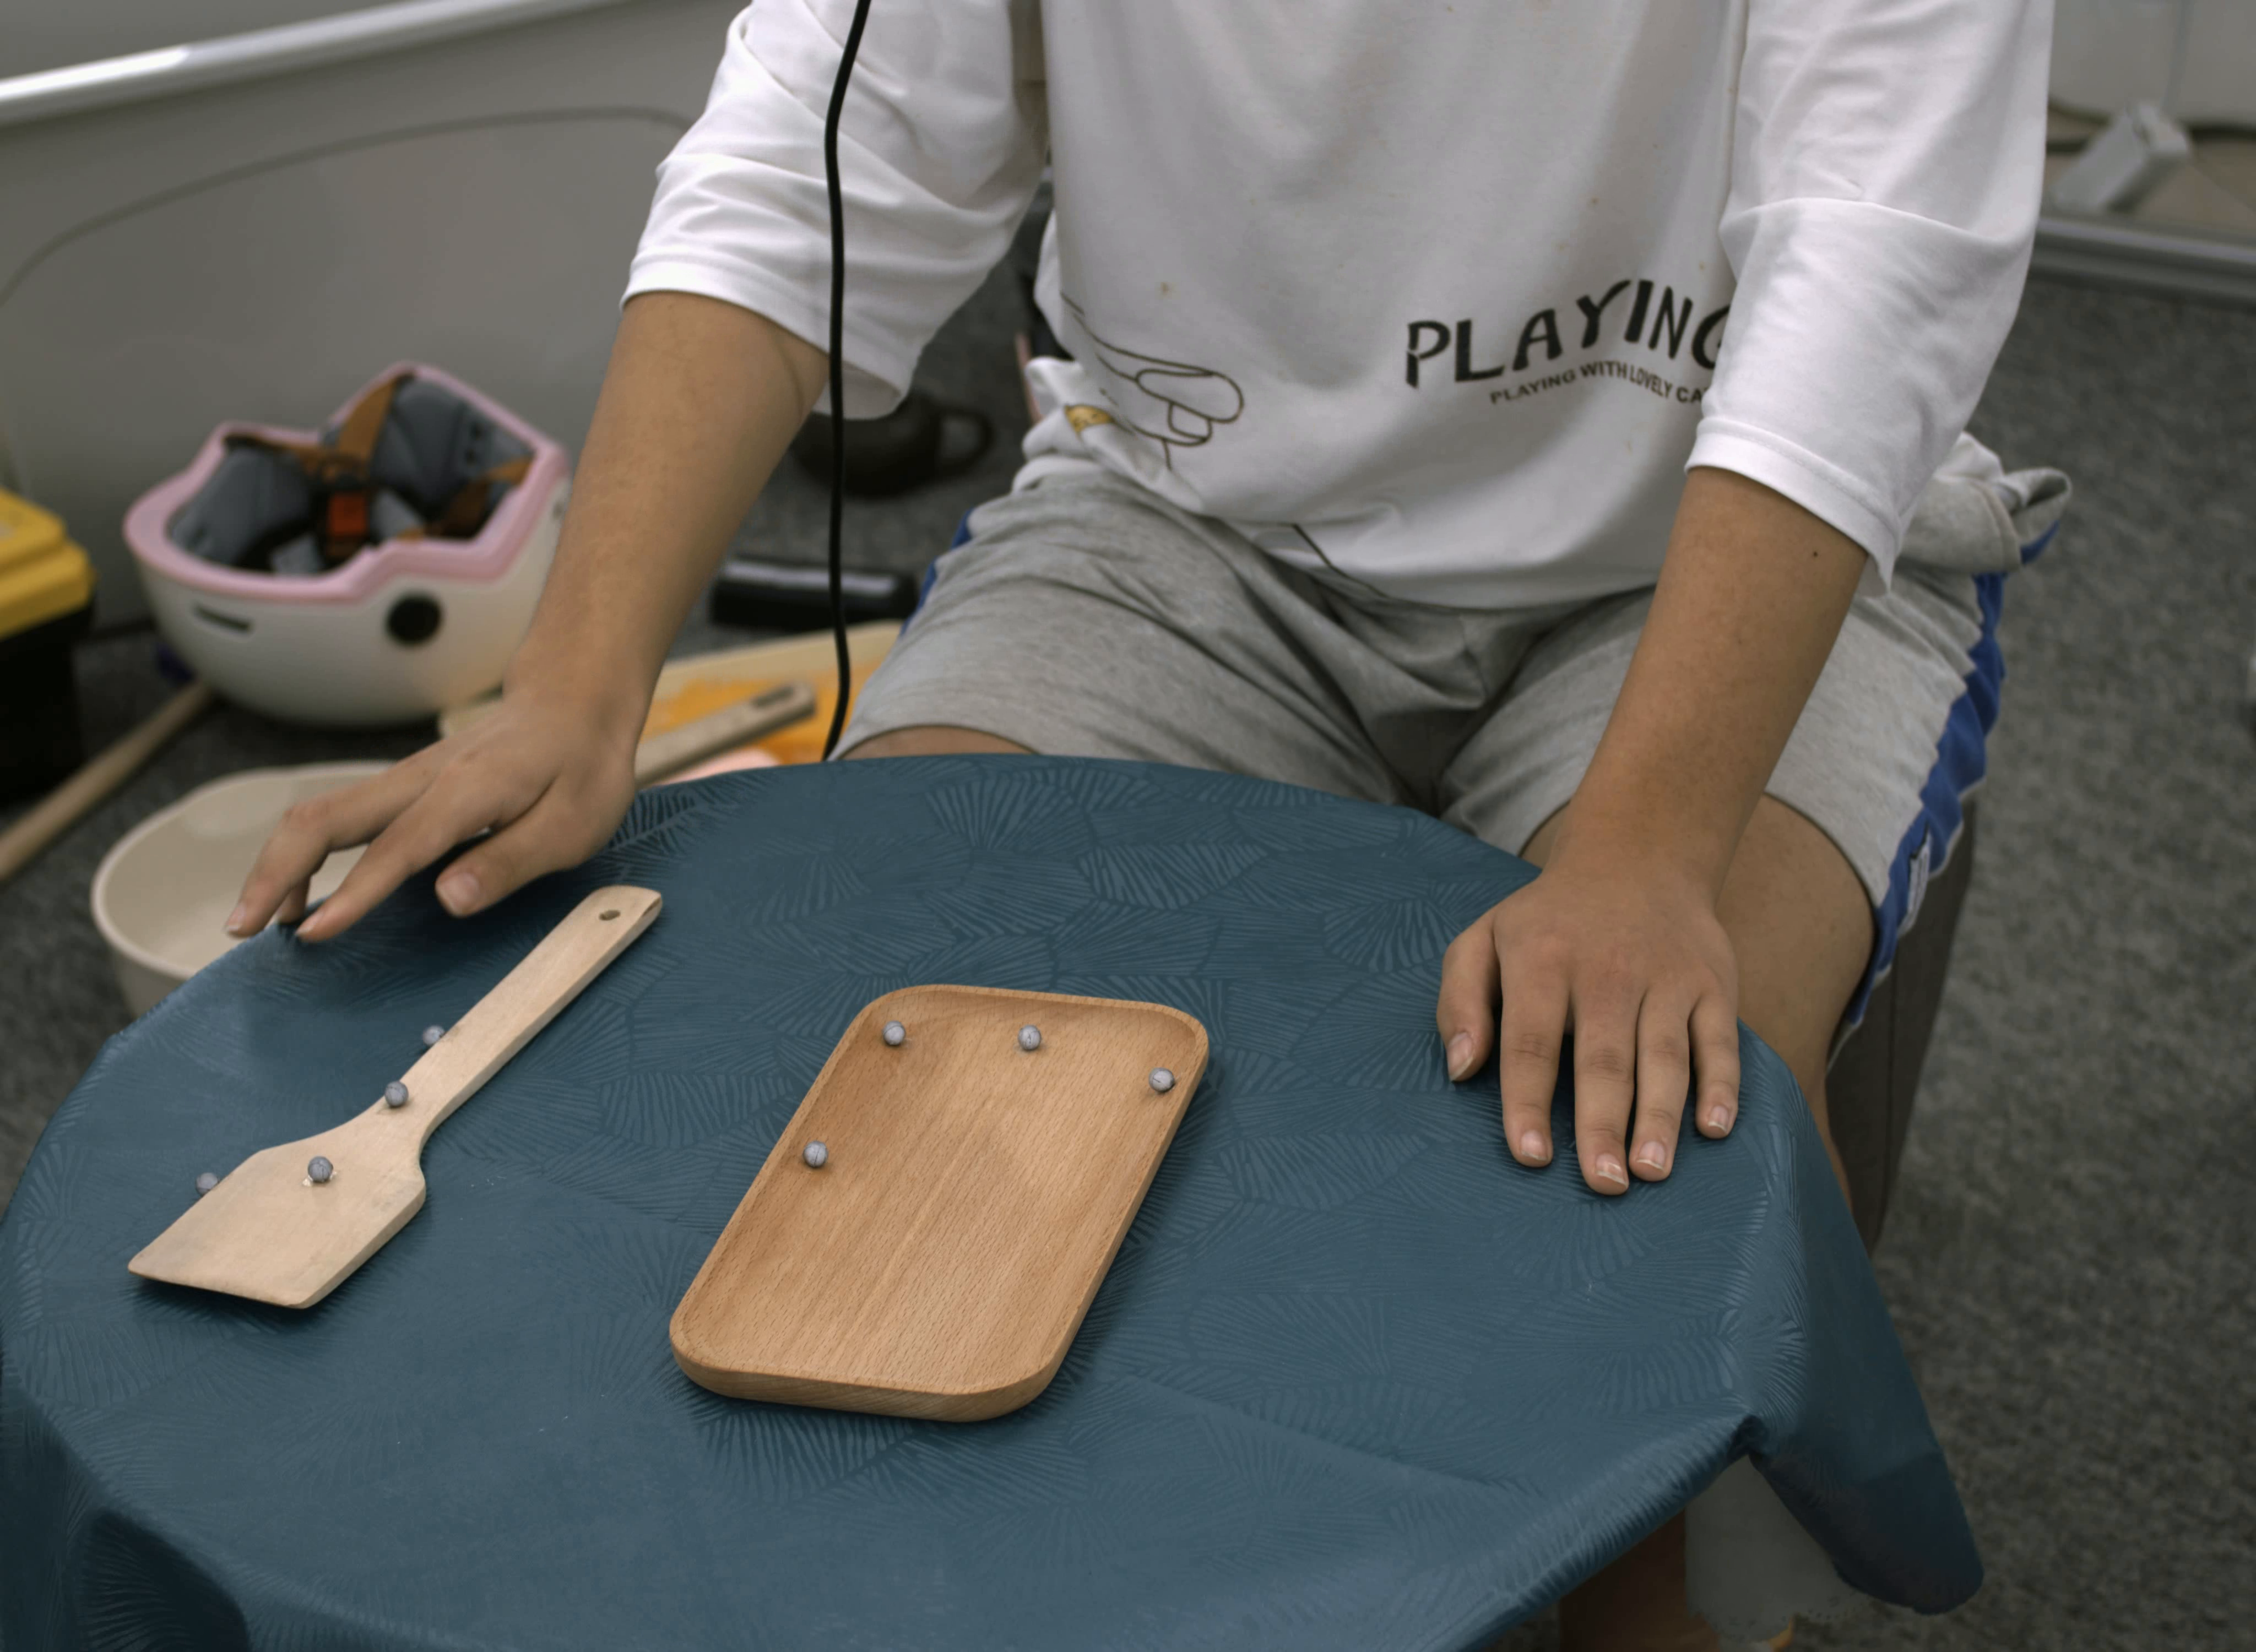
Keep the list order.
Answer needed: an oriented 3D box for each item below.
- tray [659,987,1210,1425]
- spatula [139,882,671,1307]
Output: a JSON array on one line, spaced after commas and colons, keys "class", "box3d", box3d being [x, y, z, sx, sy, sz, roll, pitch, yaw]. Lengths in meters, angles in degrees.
[{"class": "tray", "box3d": [-0.060, 0.122, 1.851, 0.129, 0.022, 0.255, 3, 28, 16]}, {"class": "spatula", "box3d": [-0.236, 0.088, 1.939, 0.072, 0.010, 0.298, 8, 29, 22]}]
